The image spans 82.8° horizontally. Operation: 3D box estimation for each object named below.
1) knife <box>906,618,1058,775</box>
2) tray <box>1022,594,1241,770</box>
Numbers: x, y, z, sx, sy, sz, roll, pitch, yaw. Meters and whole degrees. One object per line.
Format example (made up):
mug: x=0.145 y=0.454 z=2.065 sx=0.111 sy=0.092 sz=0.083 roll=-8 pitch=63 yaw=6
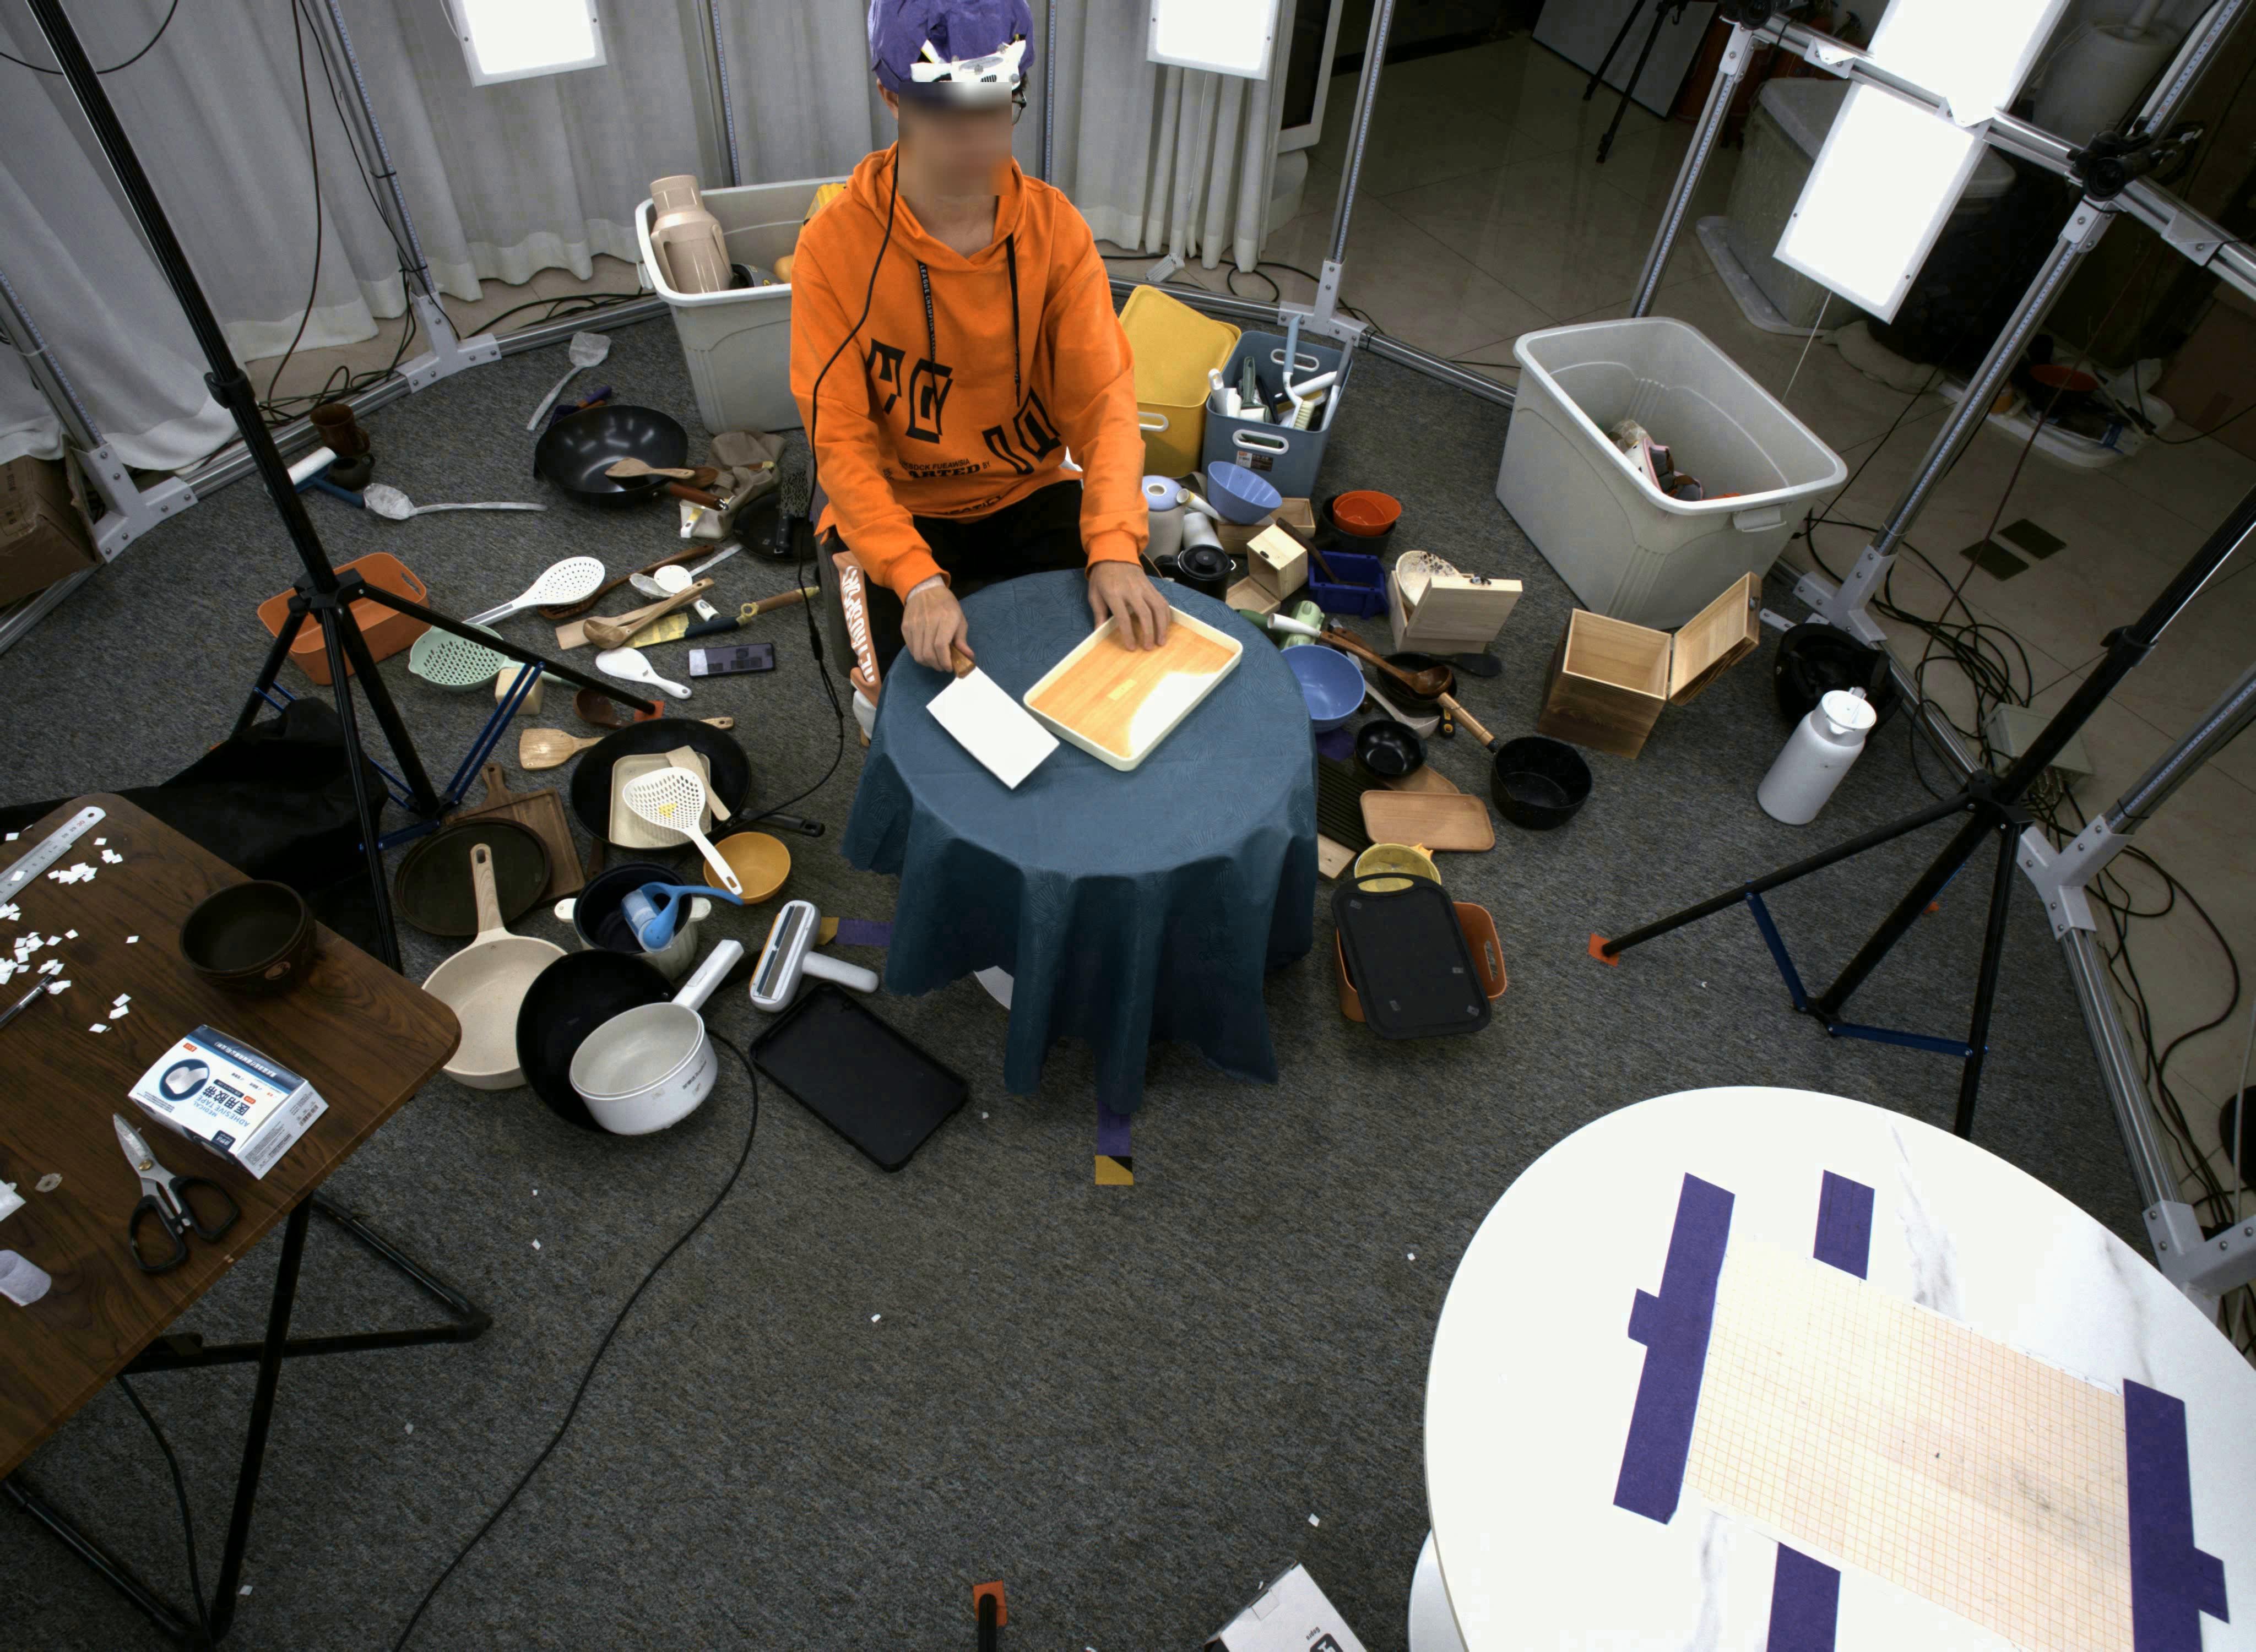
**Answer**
knife: x=-0.221 y=-0.176 z=1.761 sx=0.093 sy=0.020 sz=0.311 roll=-44 pitch=62 yaw=-6
tray: x=0.008 y=-0.212 z=1.836 sx=0.193 sy=0.027 sz=0.304 roll=30 pitch=54 yaw=21
